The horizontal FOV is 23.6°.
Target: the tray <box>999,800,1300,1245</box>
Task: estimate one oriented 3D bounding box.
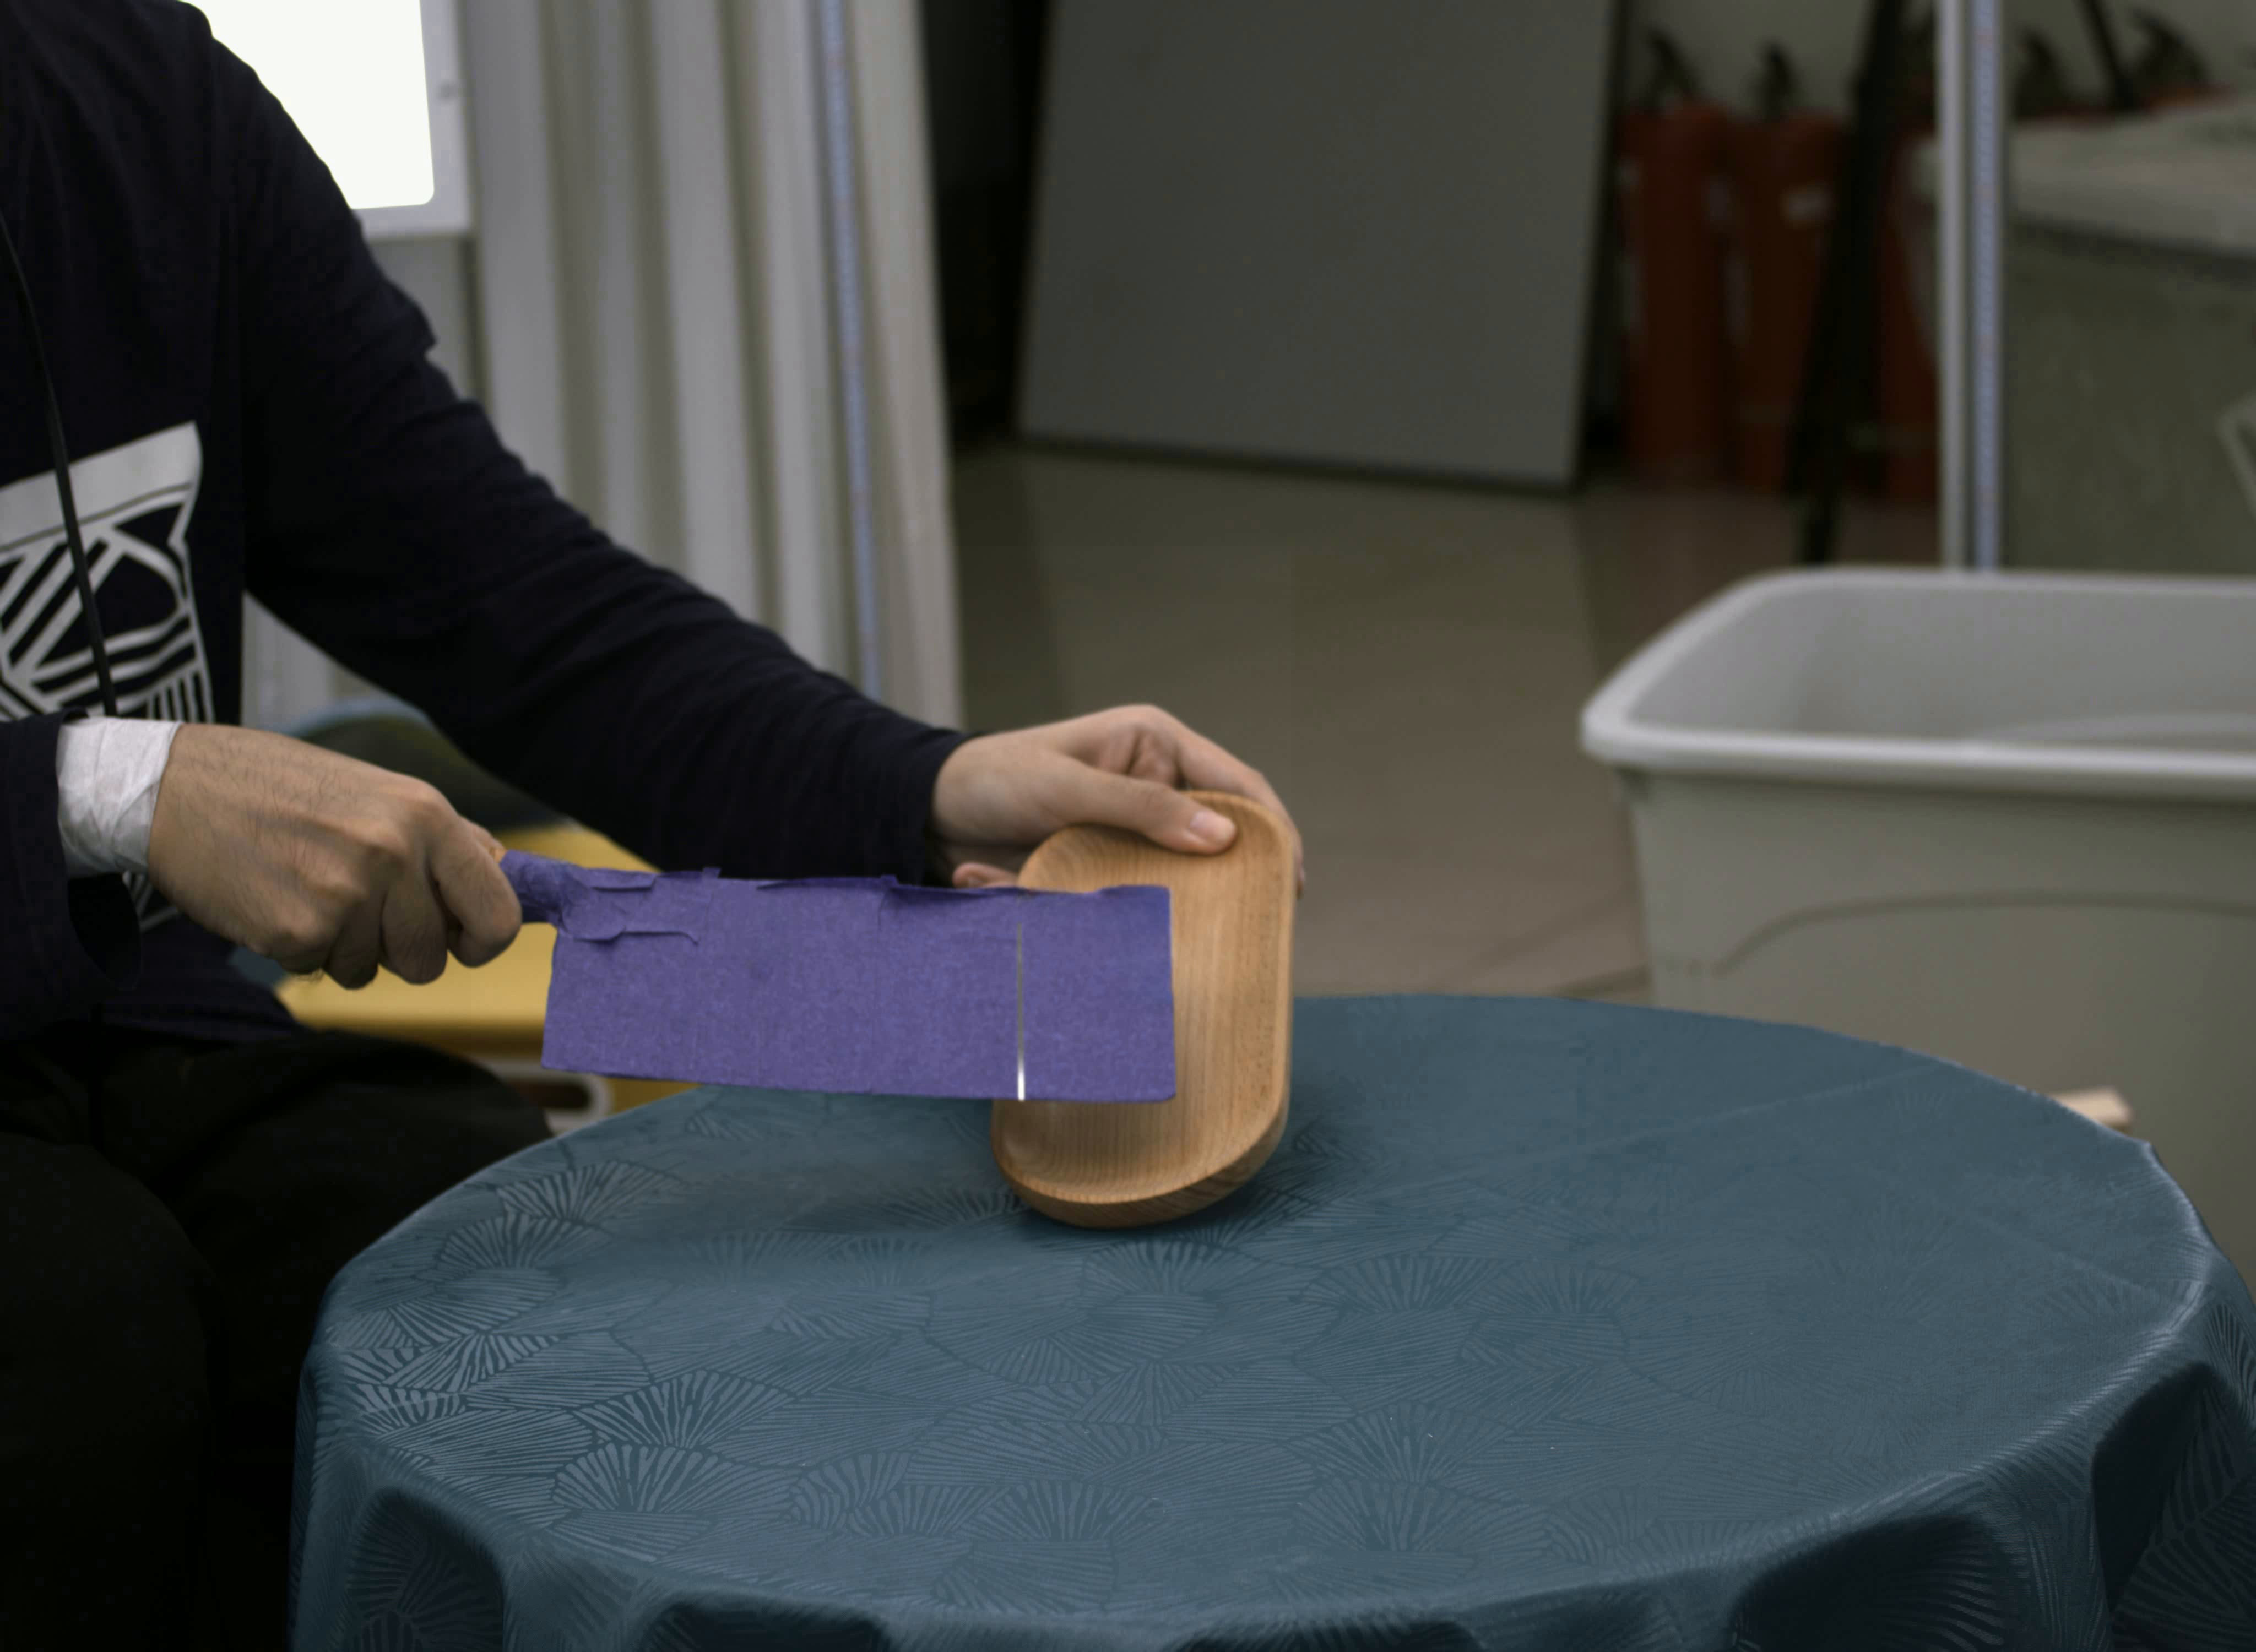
[{"bbox_3d":[0.009,0.063,1.818,0.101,0.020,0.232,-11,35,9],"label":"tray"}]

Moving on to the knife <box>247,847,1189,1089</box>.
[{"bbox_3d":[-0.135,0.046,1.768,0.311,0.032,0.104,0,45,1],"label":"knife"}]
